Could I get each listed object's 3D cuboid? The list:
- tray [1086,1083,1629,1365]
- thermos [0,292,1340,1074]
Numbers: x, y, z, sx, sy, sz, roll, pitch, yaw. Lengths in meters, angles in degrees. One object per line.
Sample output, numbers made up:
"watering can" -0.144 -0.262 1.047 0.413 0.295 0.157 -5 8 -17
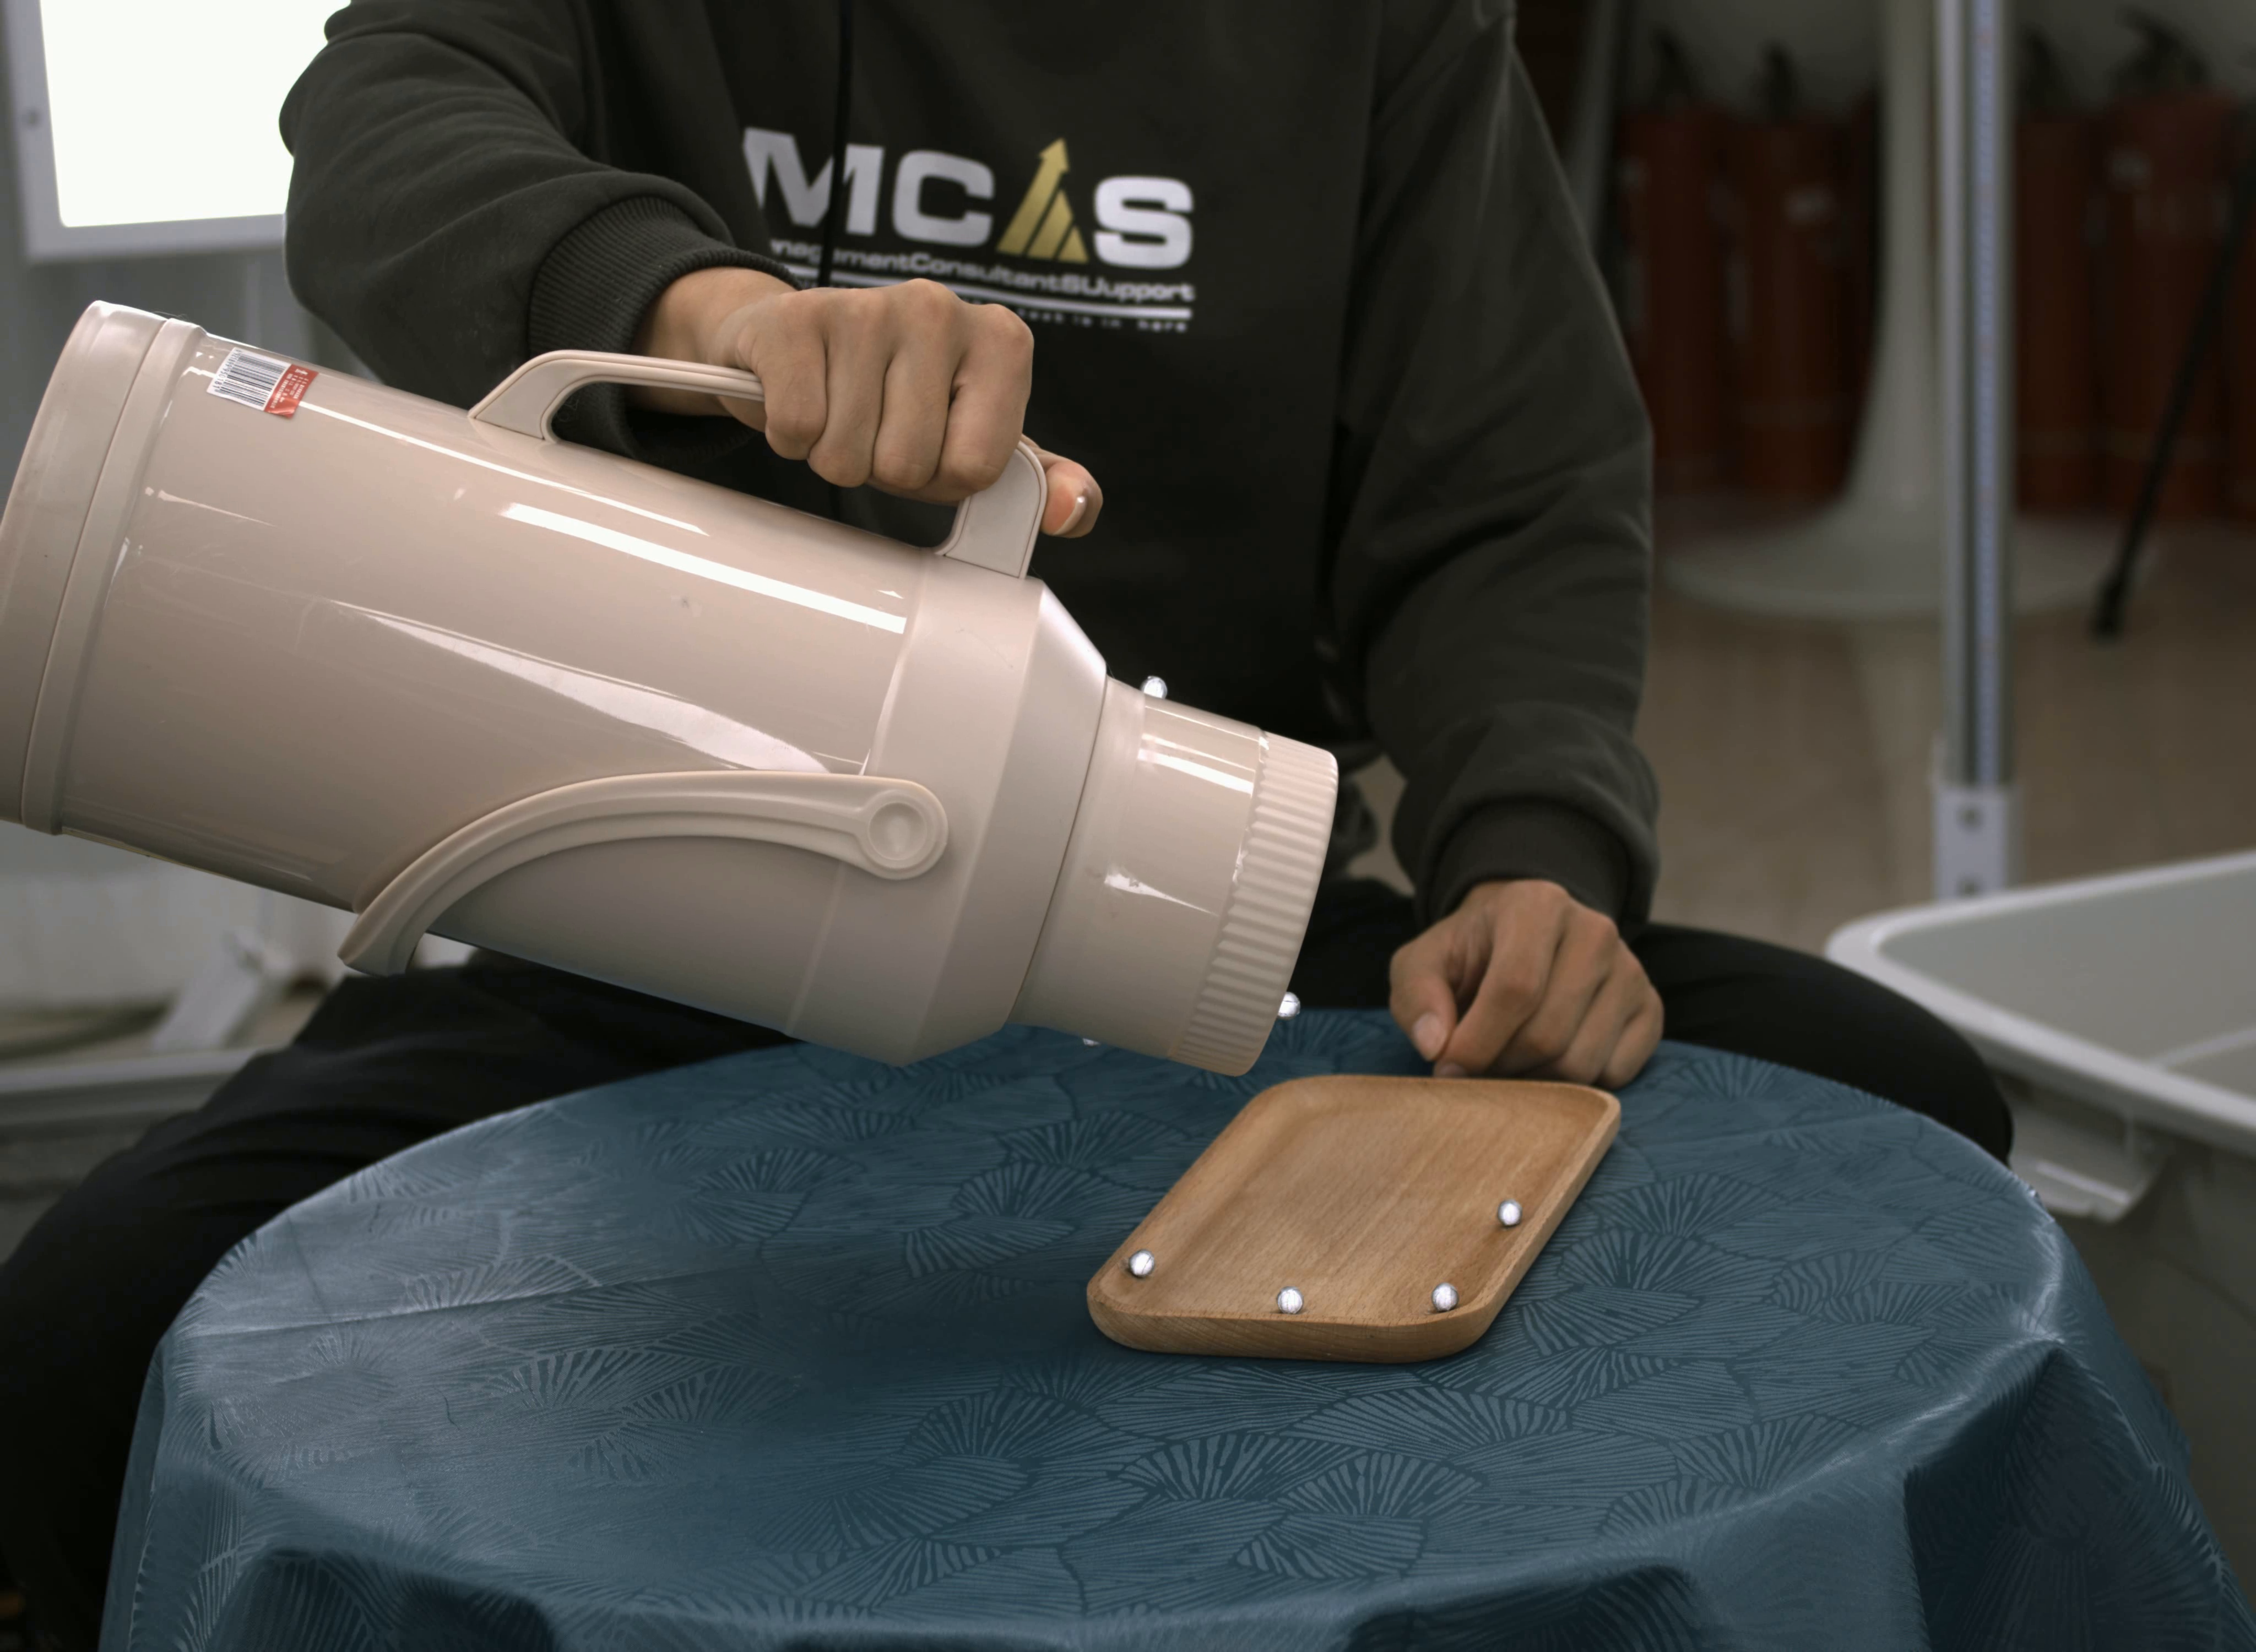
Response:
"tray" 0.077 0.124 1.713 0.130 0.023 0.248 3 14 18
"thermos" -0.137 -0.043 1.635 0.401 0.209 0.175 16 5 -2
